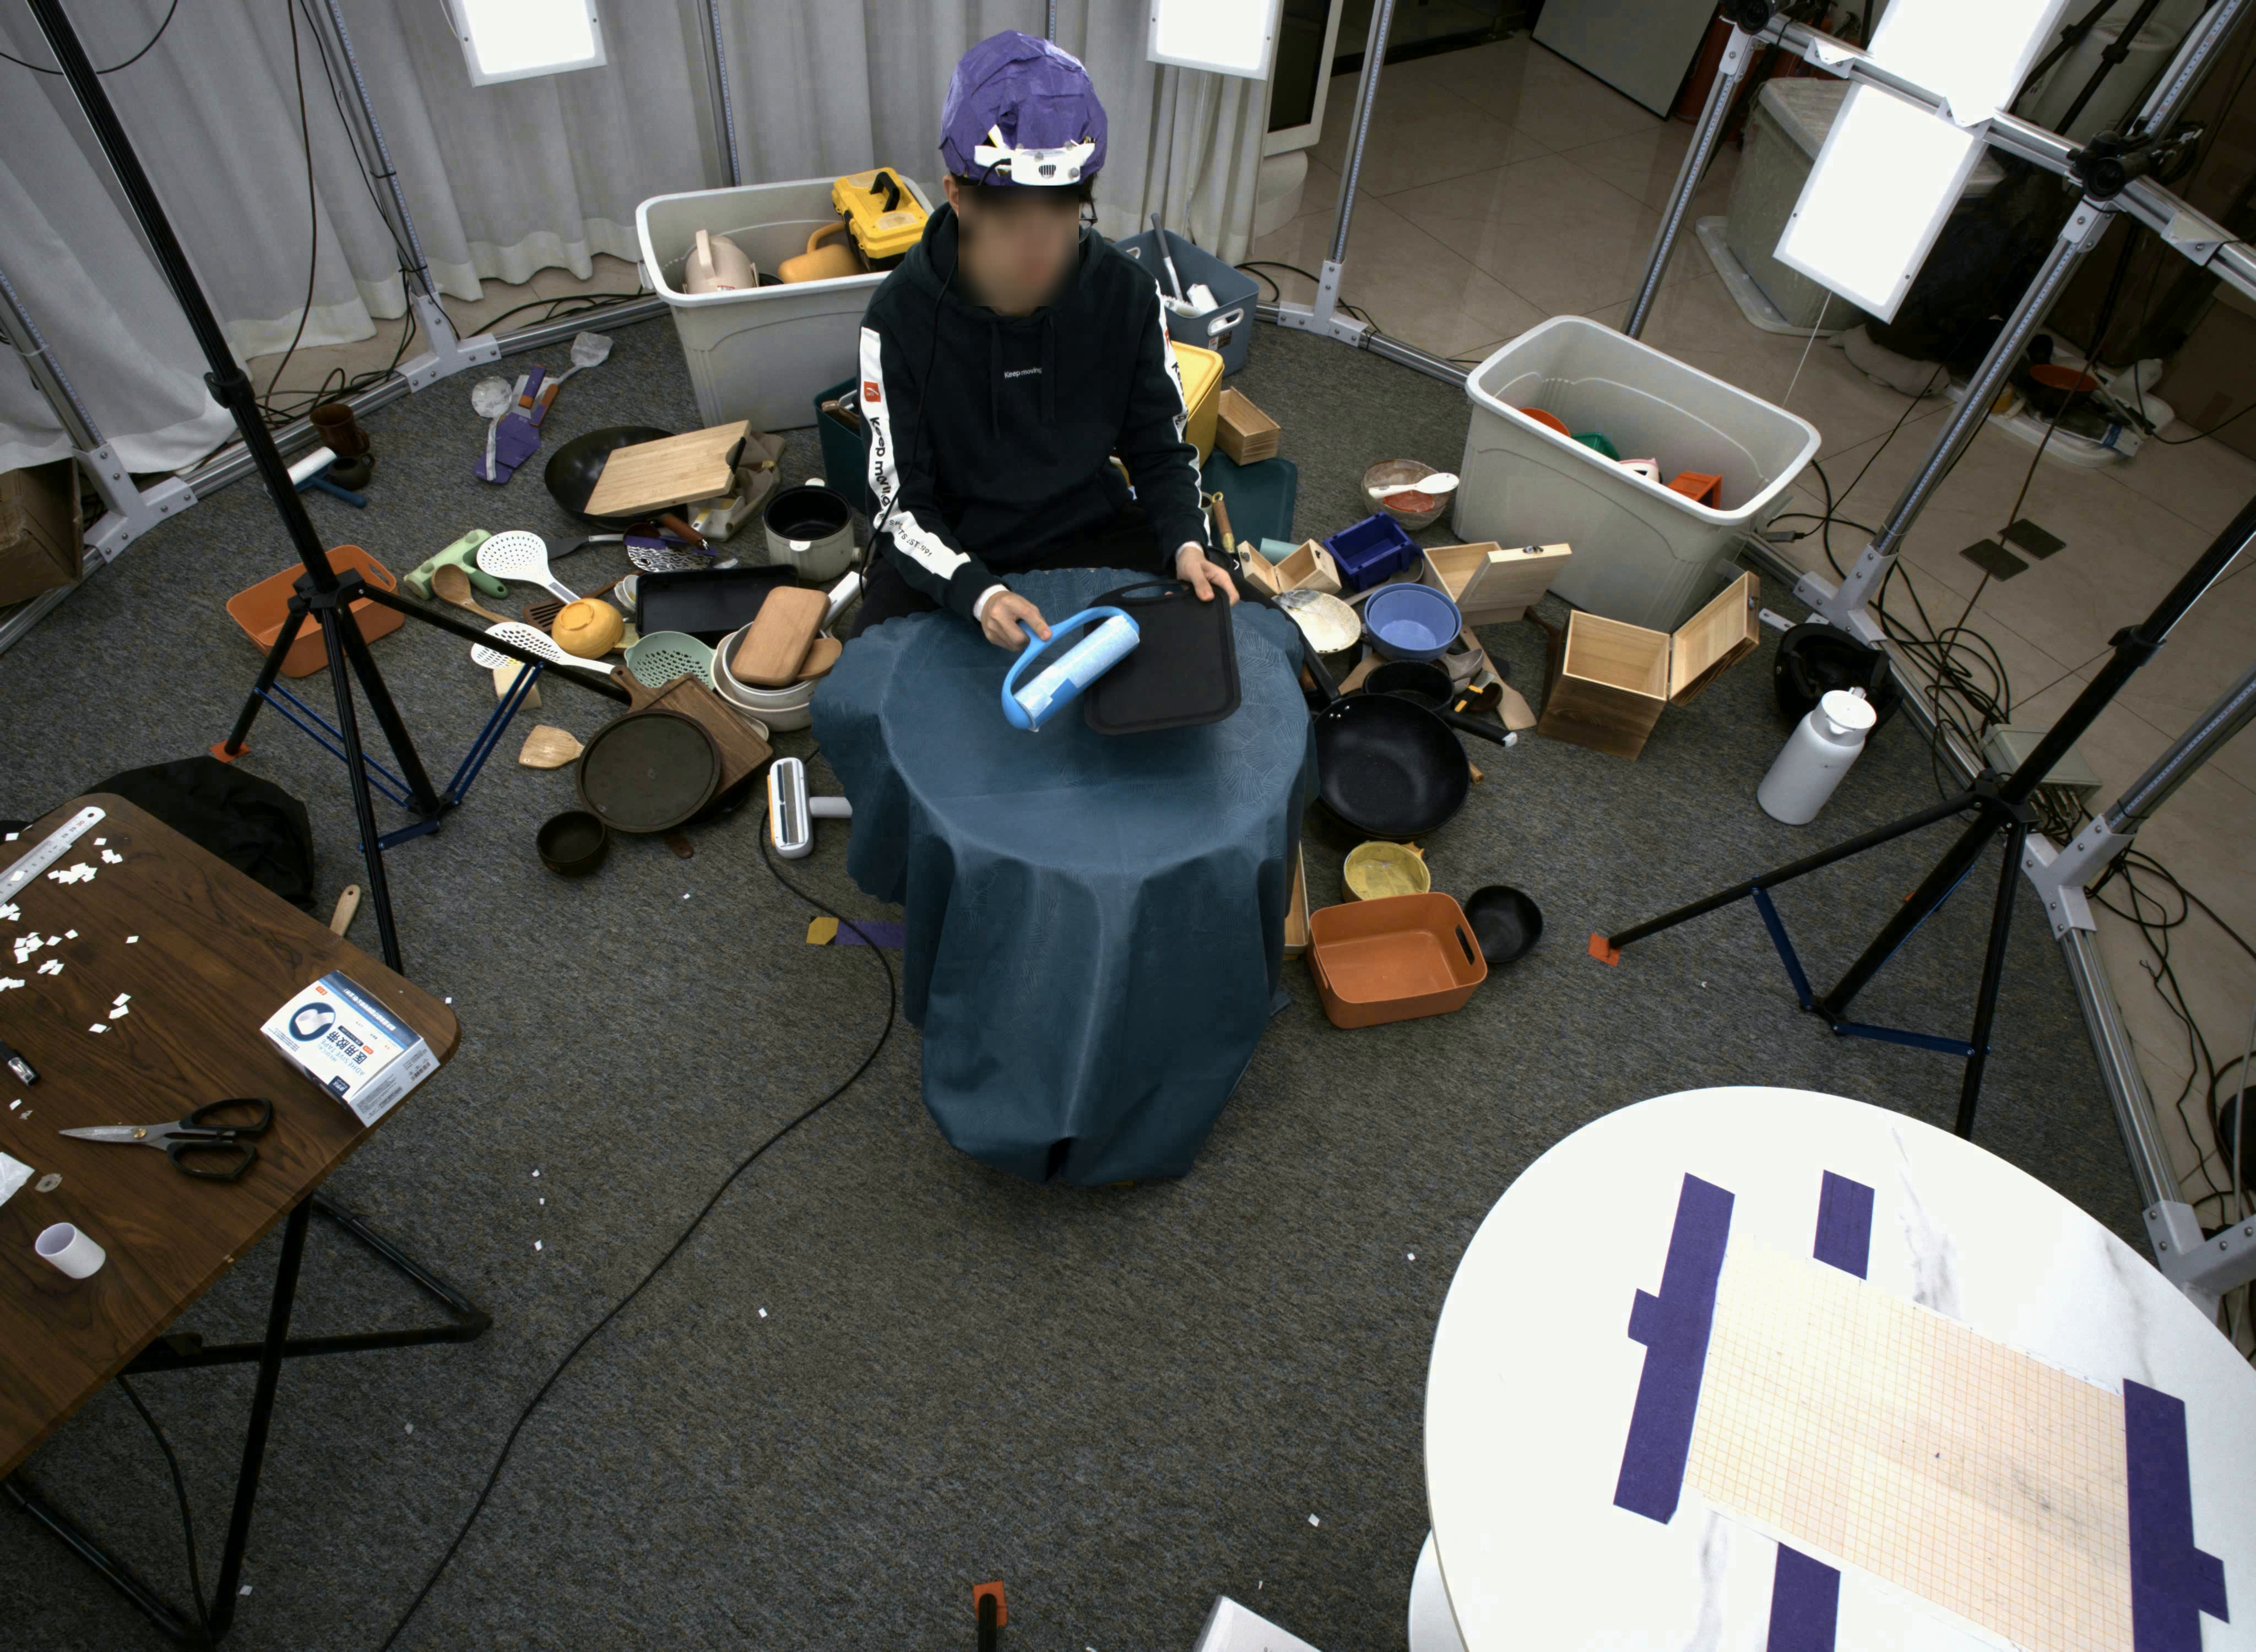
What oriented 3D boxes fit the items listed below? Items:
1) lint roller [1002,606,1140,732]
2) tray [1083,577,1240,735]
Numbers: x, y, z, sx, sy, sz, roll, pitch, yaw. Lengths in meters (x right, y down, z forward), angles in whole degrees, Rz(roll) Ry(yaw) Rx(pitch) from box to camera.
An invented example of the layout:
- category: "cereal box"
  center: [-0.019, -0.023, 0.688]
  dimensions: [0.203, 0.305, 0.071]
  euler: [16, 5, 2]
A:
- category: "lint roller"
  center: [-0.114, -0.238, 1.748]
  dimensions: [0.183, 0.066, 0.231]
  euler: [35, 67, 27]
- category: "tray"
  center: [0.042, -0.245, 1.772]
  dimensions: [0.211, 0.009, 0.333]
  euler: [-6, 46, 5]
